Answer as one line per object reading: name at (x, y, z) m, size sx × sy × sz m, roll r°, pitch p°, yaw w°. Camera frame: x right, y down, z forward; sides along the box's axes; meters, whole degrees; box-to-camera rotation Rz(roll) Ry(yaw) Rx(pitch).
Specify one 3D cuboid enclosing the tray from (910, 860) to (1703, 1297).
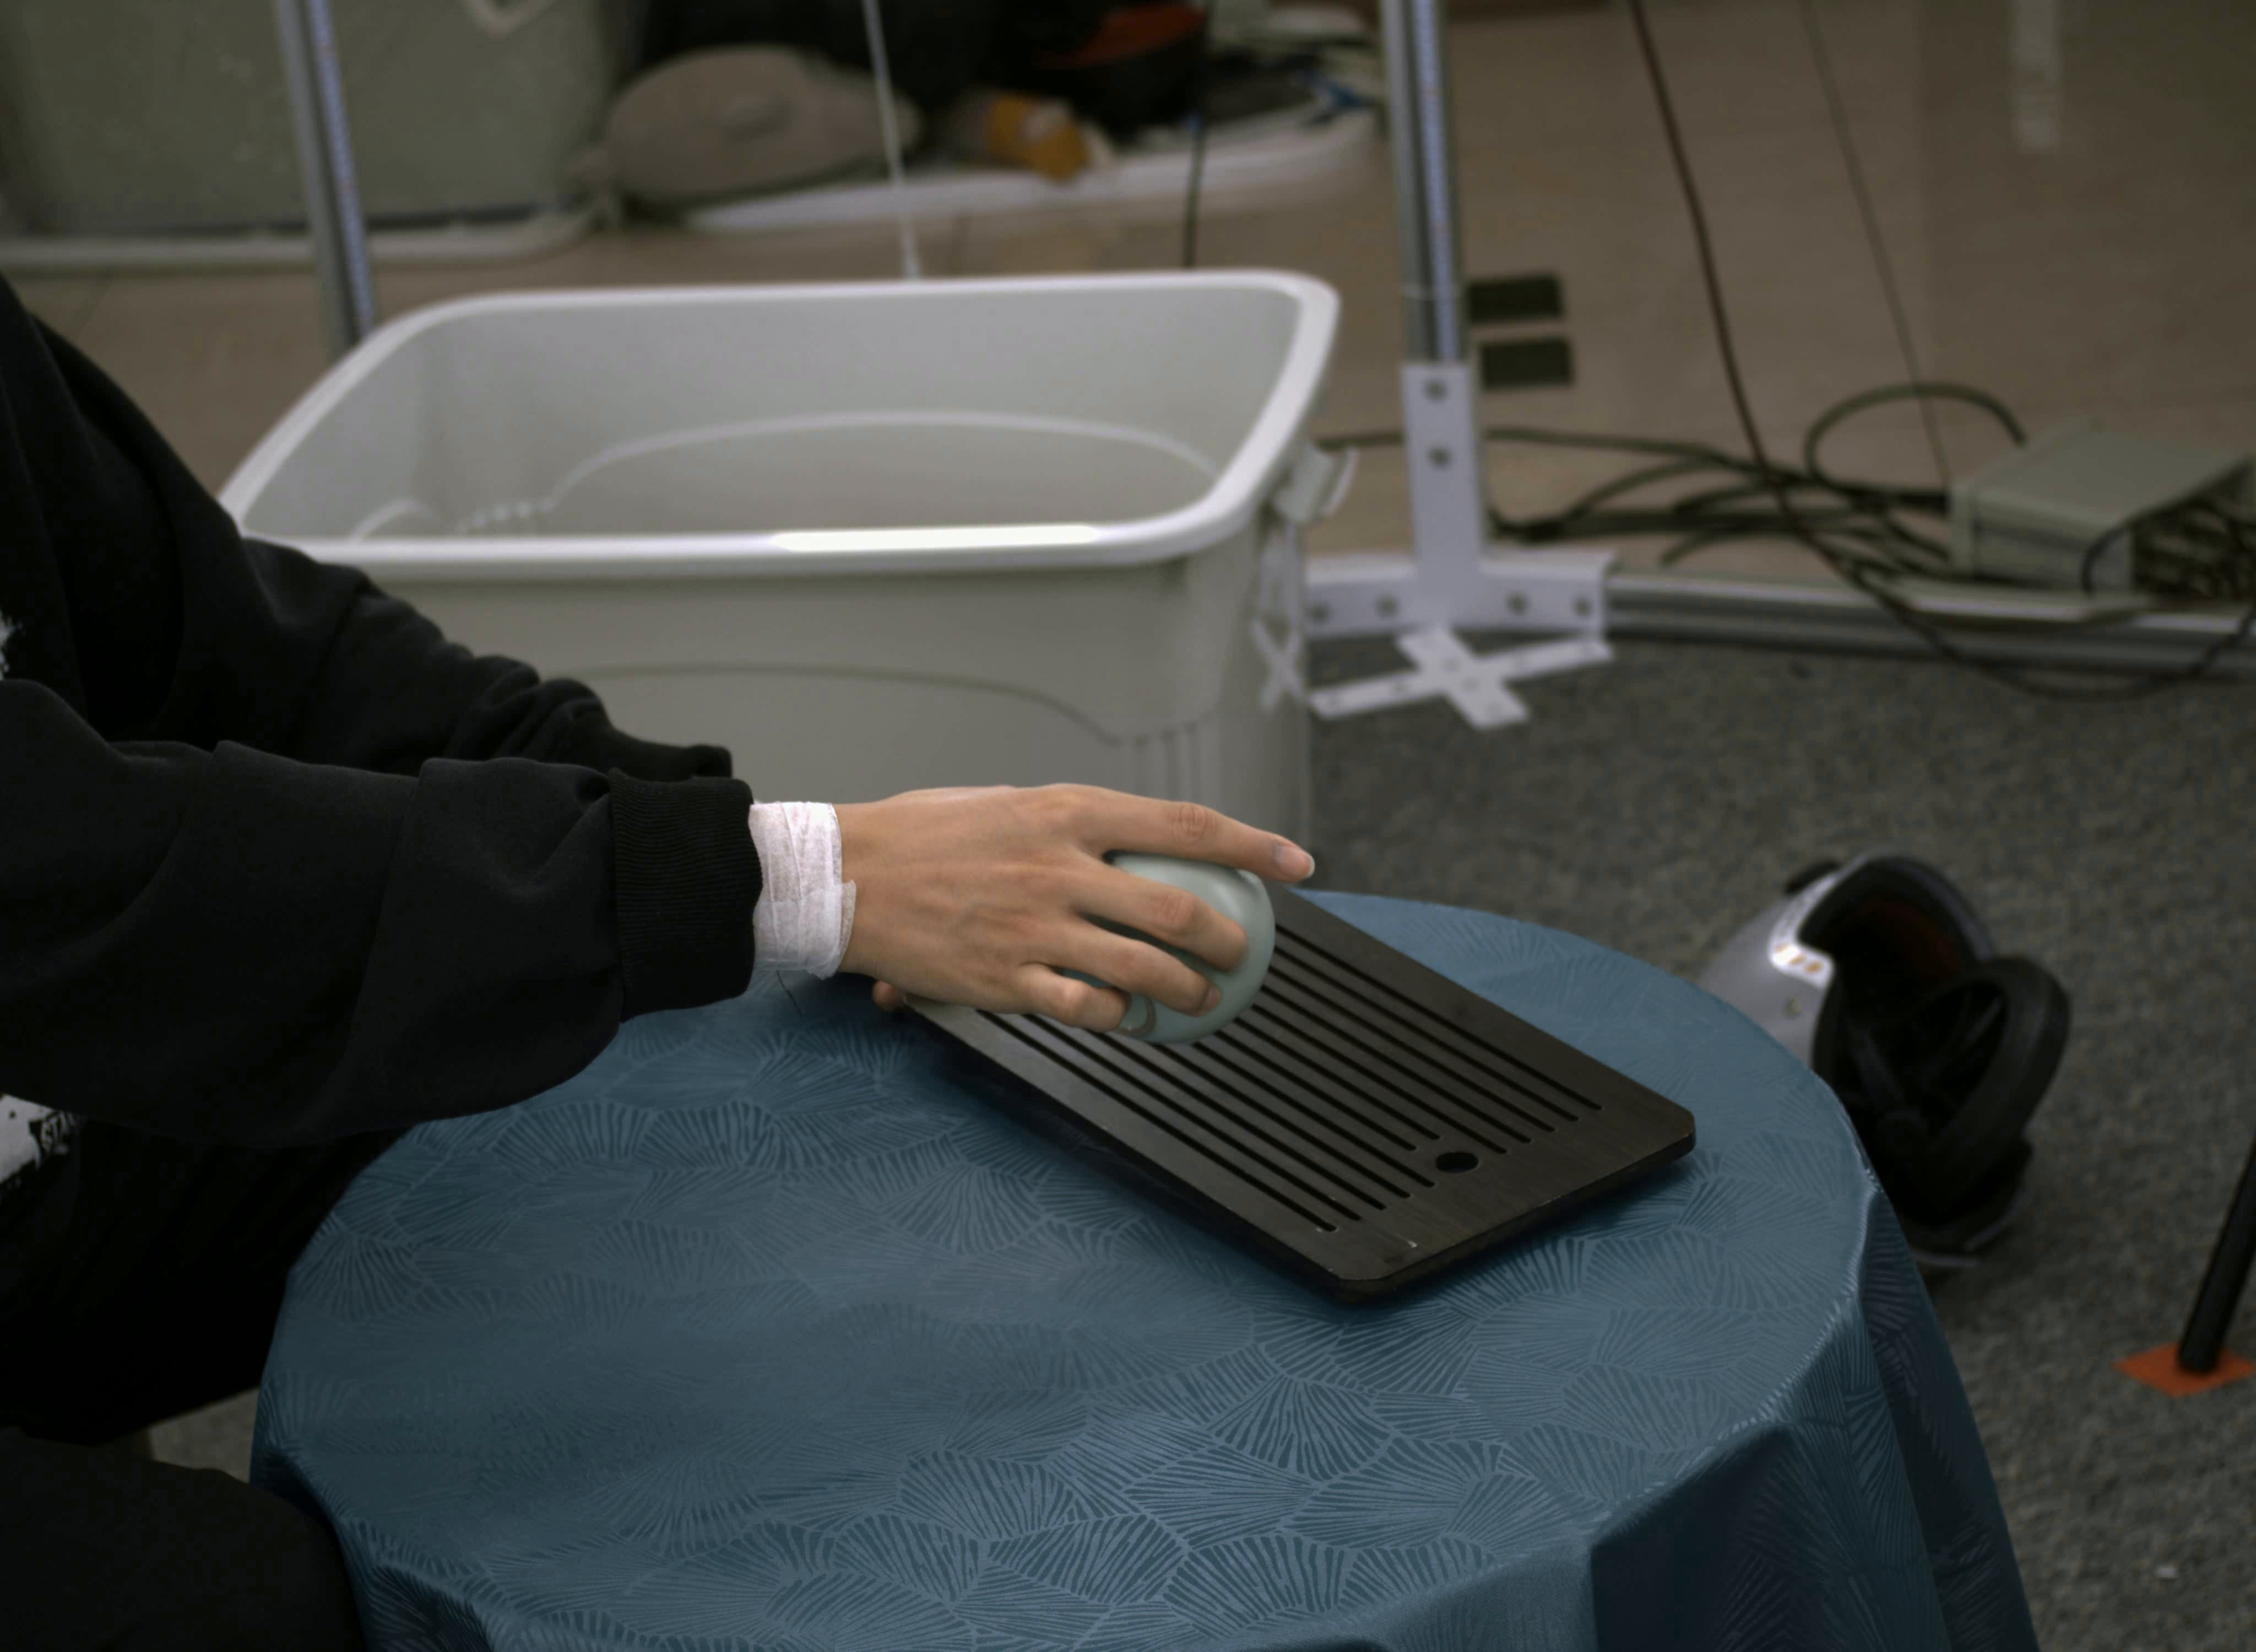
tray at (0.065, 0.094, 2.192) m, size 0.169 × 0.019 × 0.302 m, roll -22°, pitch 32°, yaw -29°

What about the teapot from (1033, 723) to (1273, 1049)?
teapot at (0.010, 0.036, 2.047) m, size 0.088 × 0.146 × 0.074 m, roll 15°, pitch 49°, yaw 33°
